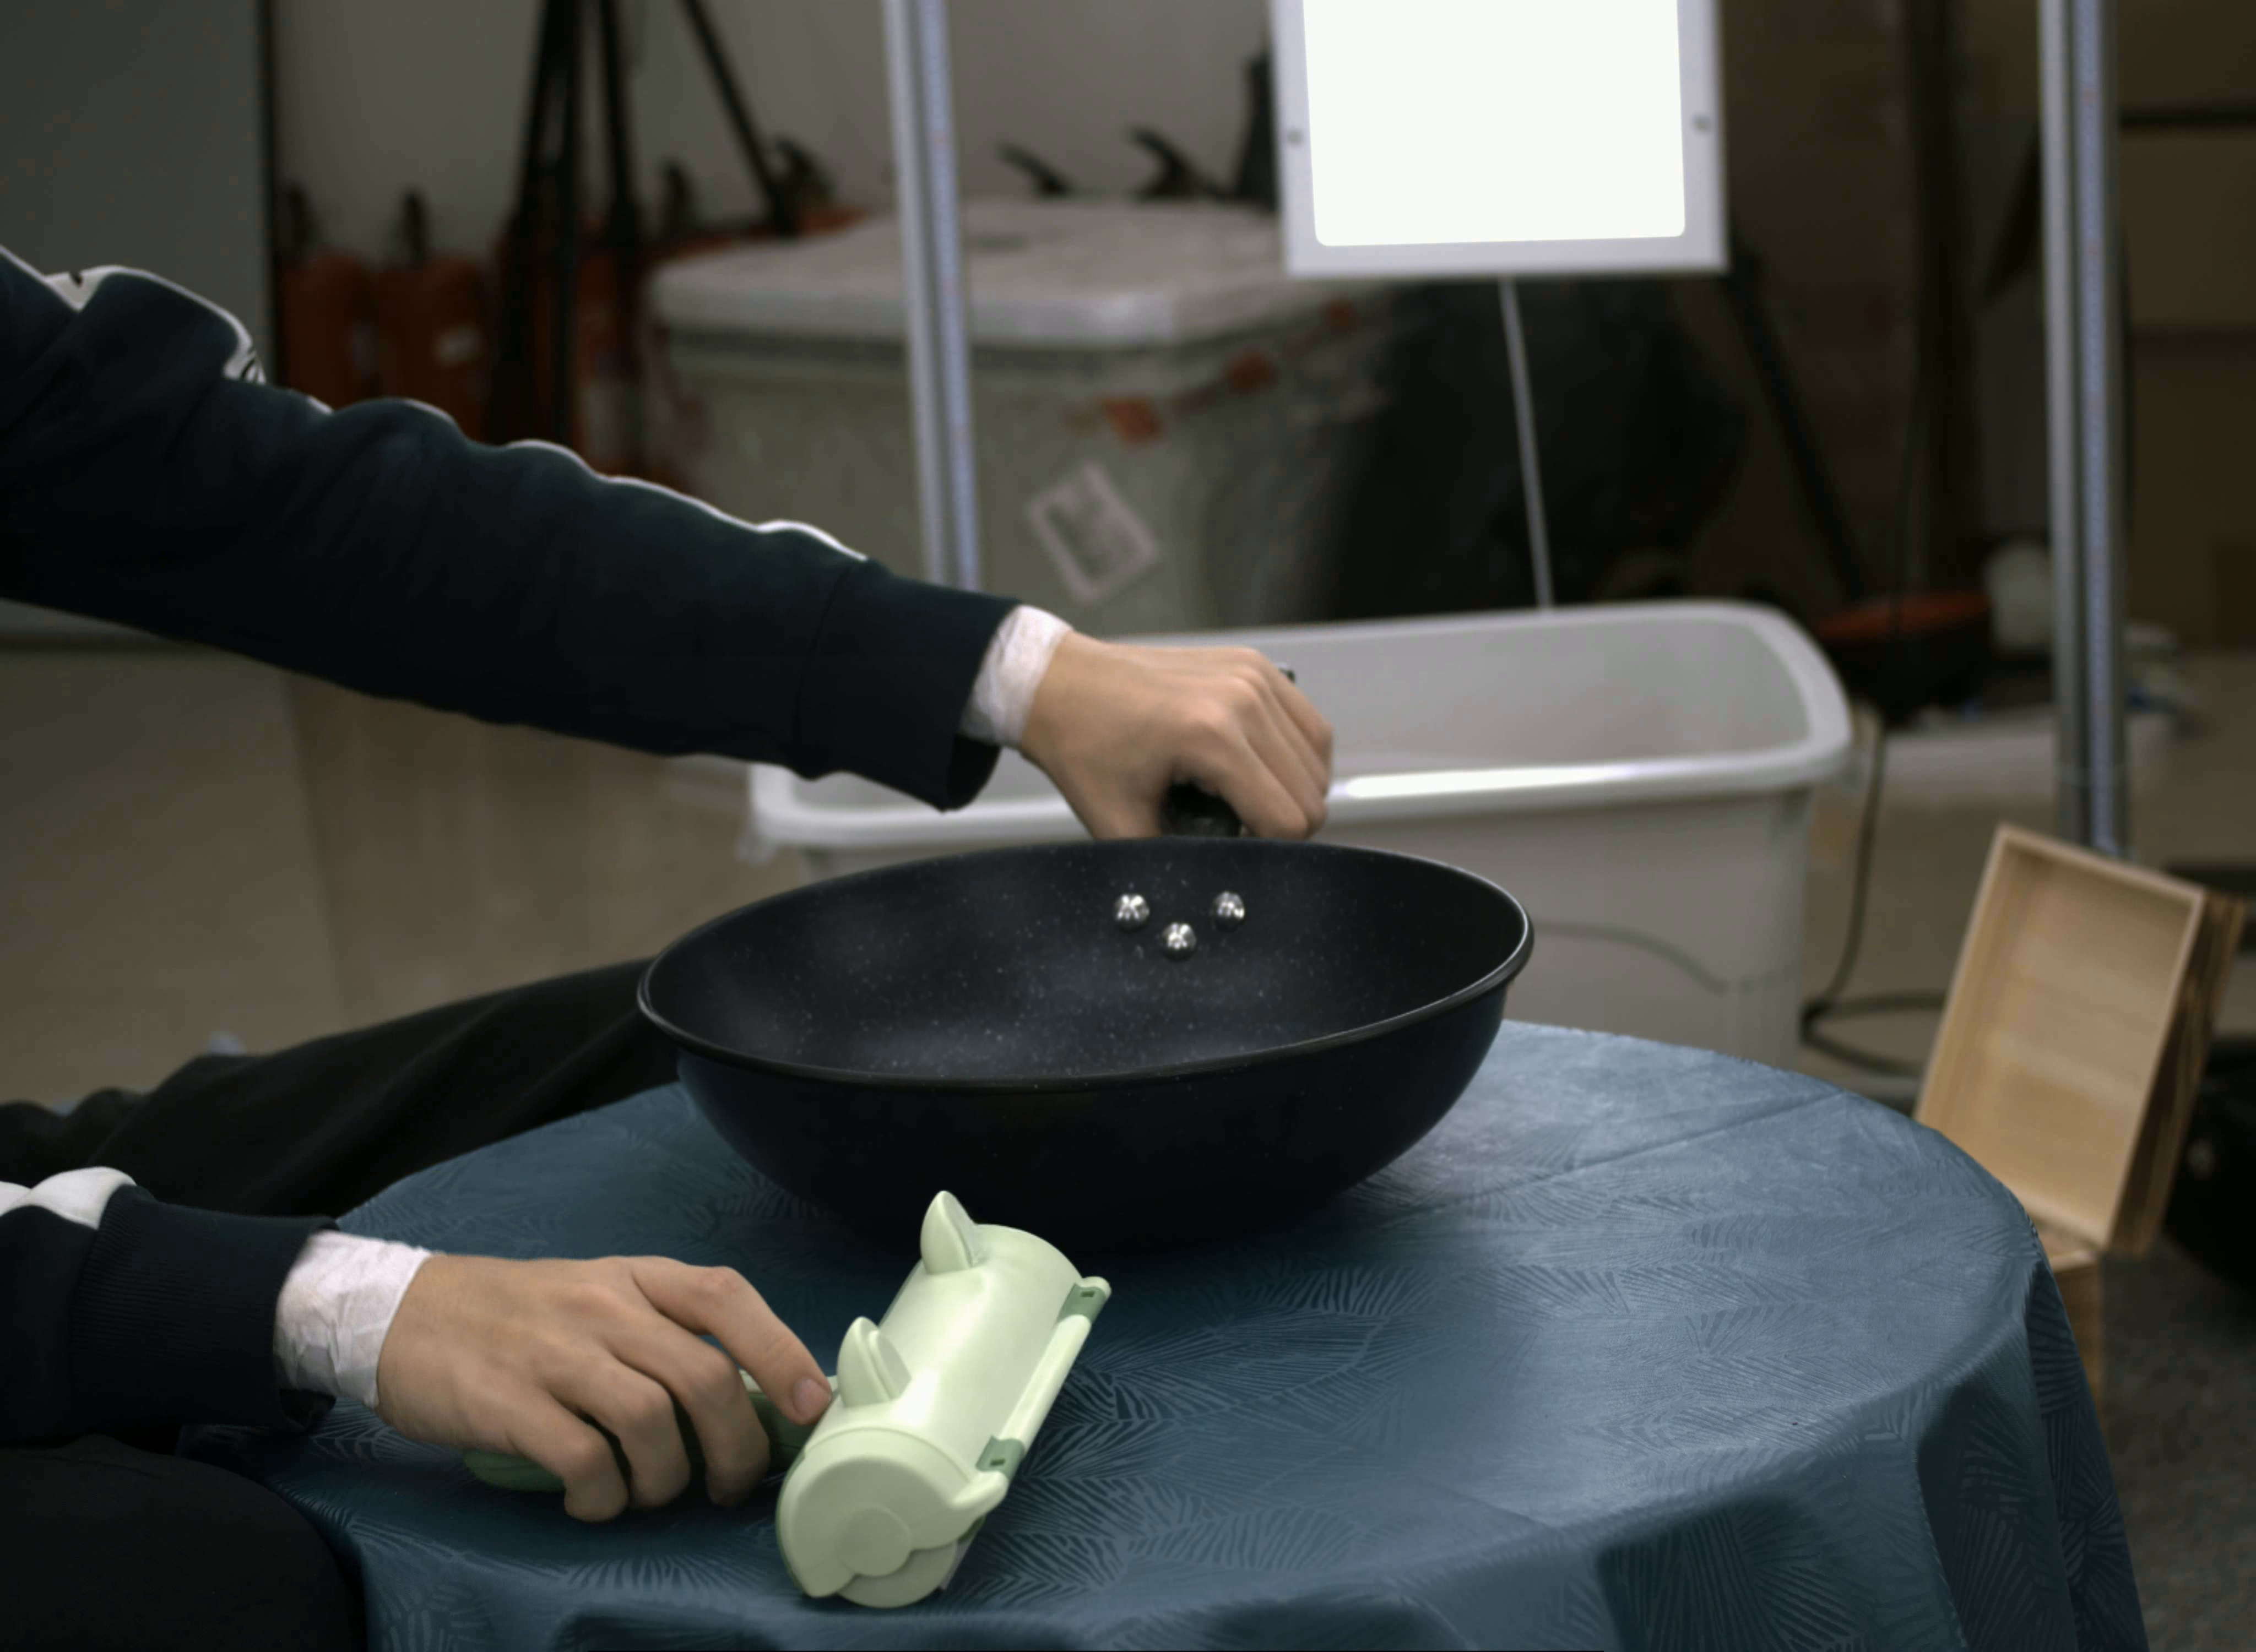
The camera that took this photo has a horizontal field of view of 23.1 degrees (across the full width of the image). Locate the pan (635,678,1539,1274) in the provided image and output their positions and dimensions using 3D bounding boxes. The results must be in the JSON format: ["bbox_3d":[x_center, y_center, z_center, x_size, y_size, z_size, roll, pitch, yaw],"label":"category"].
[{"bbox_3d":[0.005,0.055,1.964,0.313,0.112,0.471,0,15,14],"label":"pan"}]

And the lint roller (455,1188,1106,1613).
[{"bbox_3d":[-0.111,0.161,1.632,0.184,0.082,0.196,4,15,10],"label":"lint roller"}]
